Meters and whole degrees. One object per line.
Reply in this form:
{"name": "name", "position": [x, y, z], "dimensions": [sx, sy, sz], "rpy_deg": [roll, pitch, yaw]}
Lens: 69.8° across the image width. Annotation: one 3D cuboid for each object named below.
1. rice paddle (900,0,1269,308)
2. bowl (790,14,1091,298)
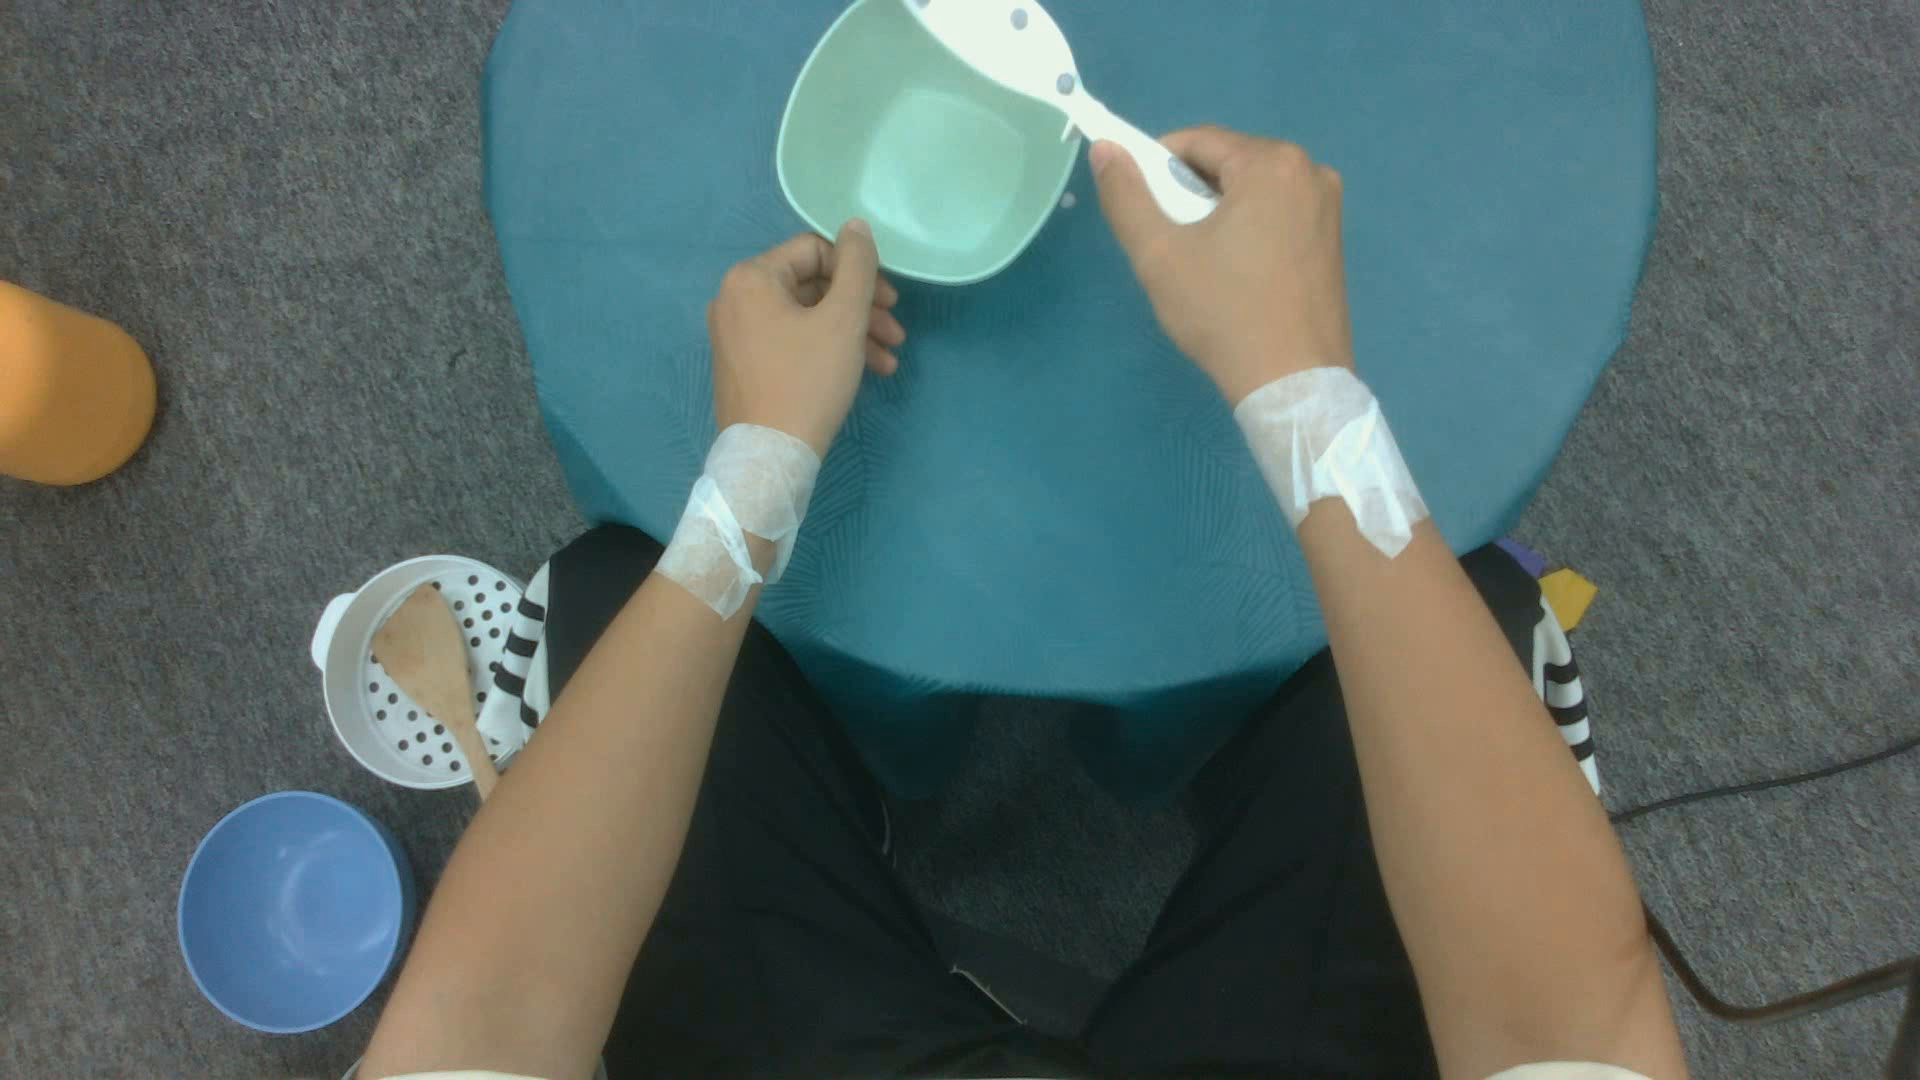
{"name": "rice paddle", "position": [0.050, -0.179, 0.601], "dimensions": [0.069, 0.029, 0.205], "rpy_deg": [-31, 69, -38]}
{"name": "bowl", "position": [-0.008, -0.185, 0.697], "dimensions": [0.151, 0.058, 0.151], "rpy_deg": [0, 80, 3]}
